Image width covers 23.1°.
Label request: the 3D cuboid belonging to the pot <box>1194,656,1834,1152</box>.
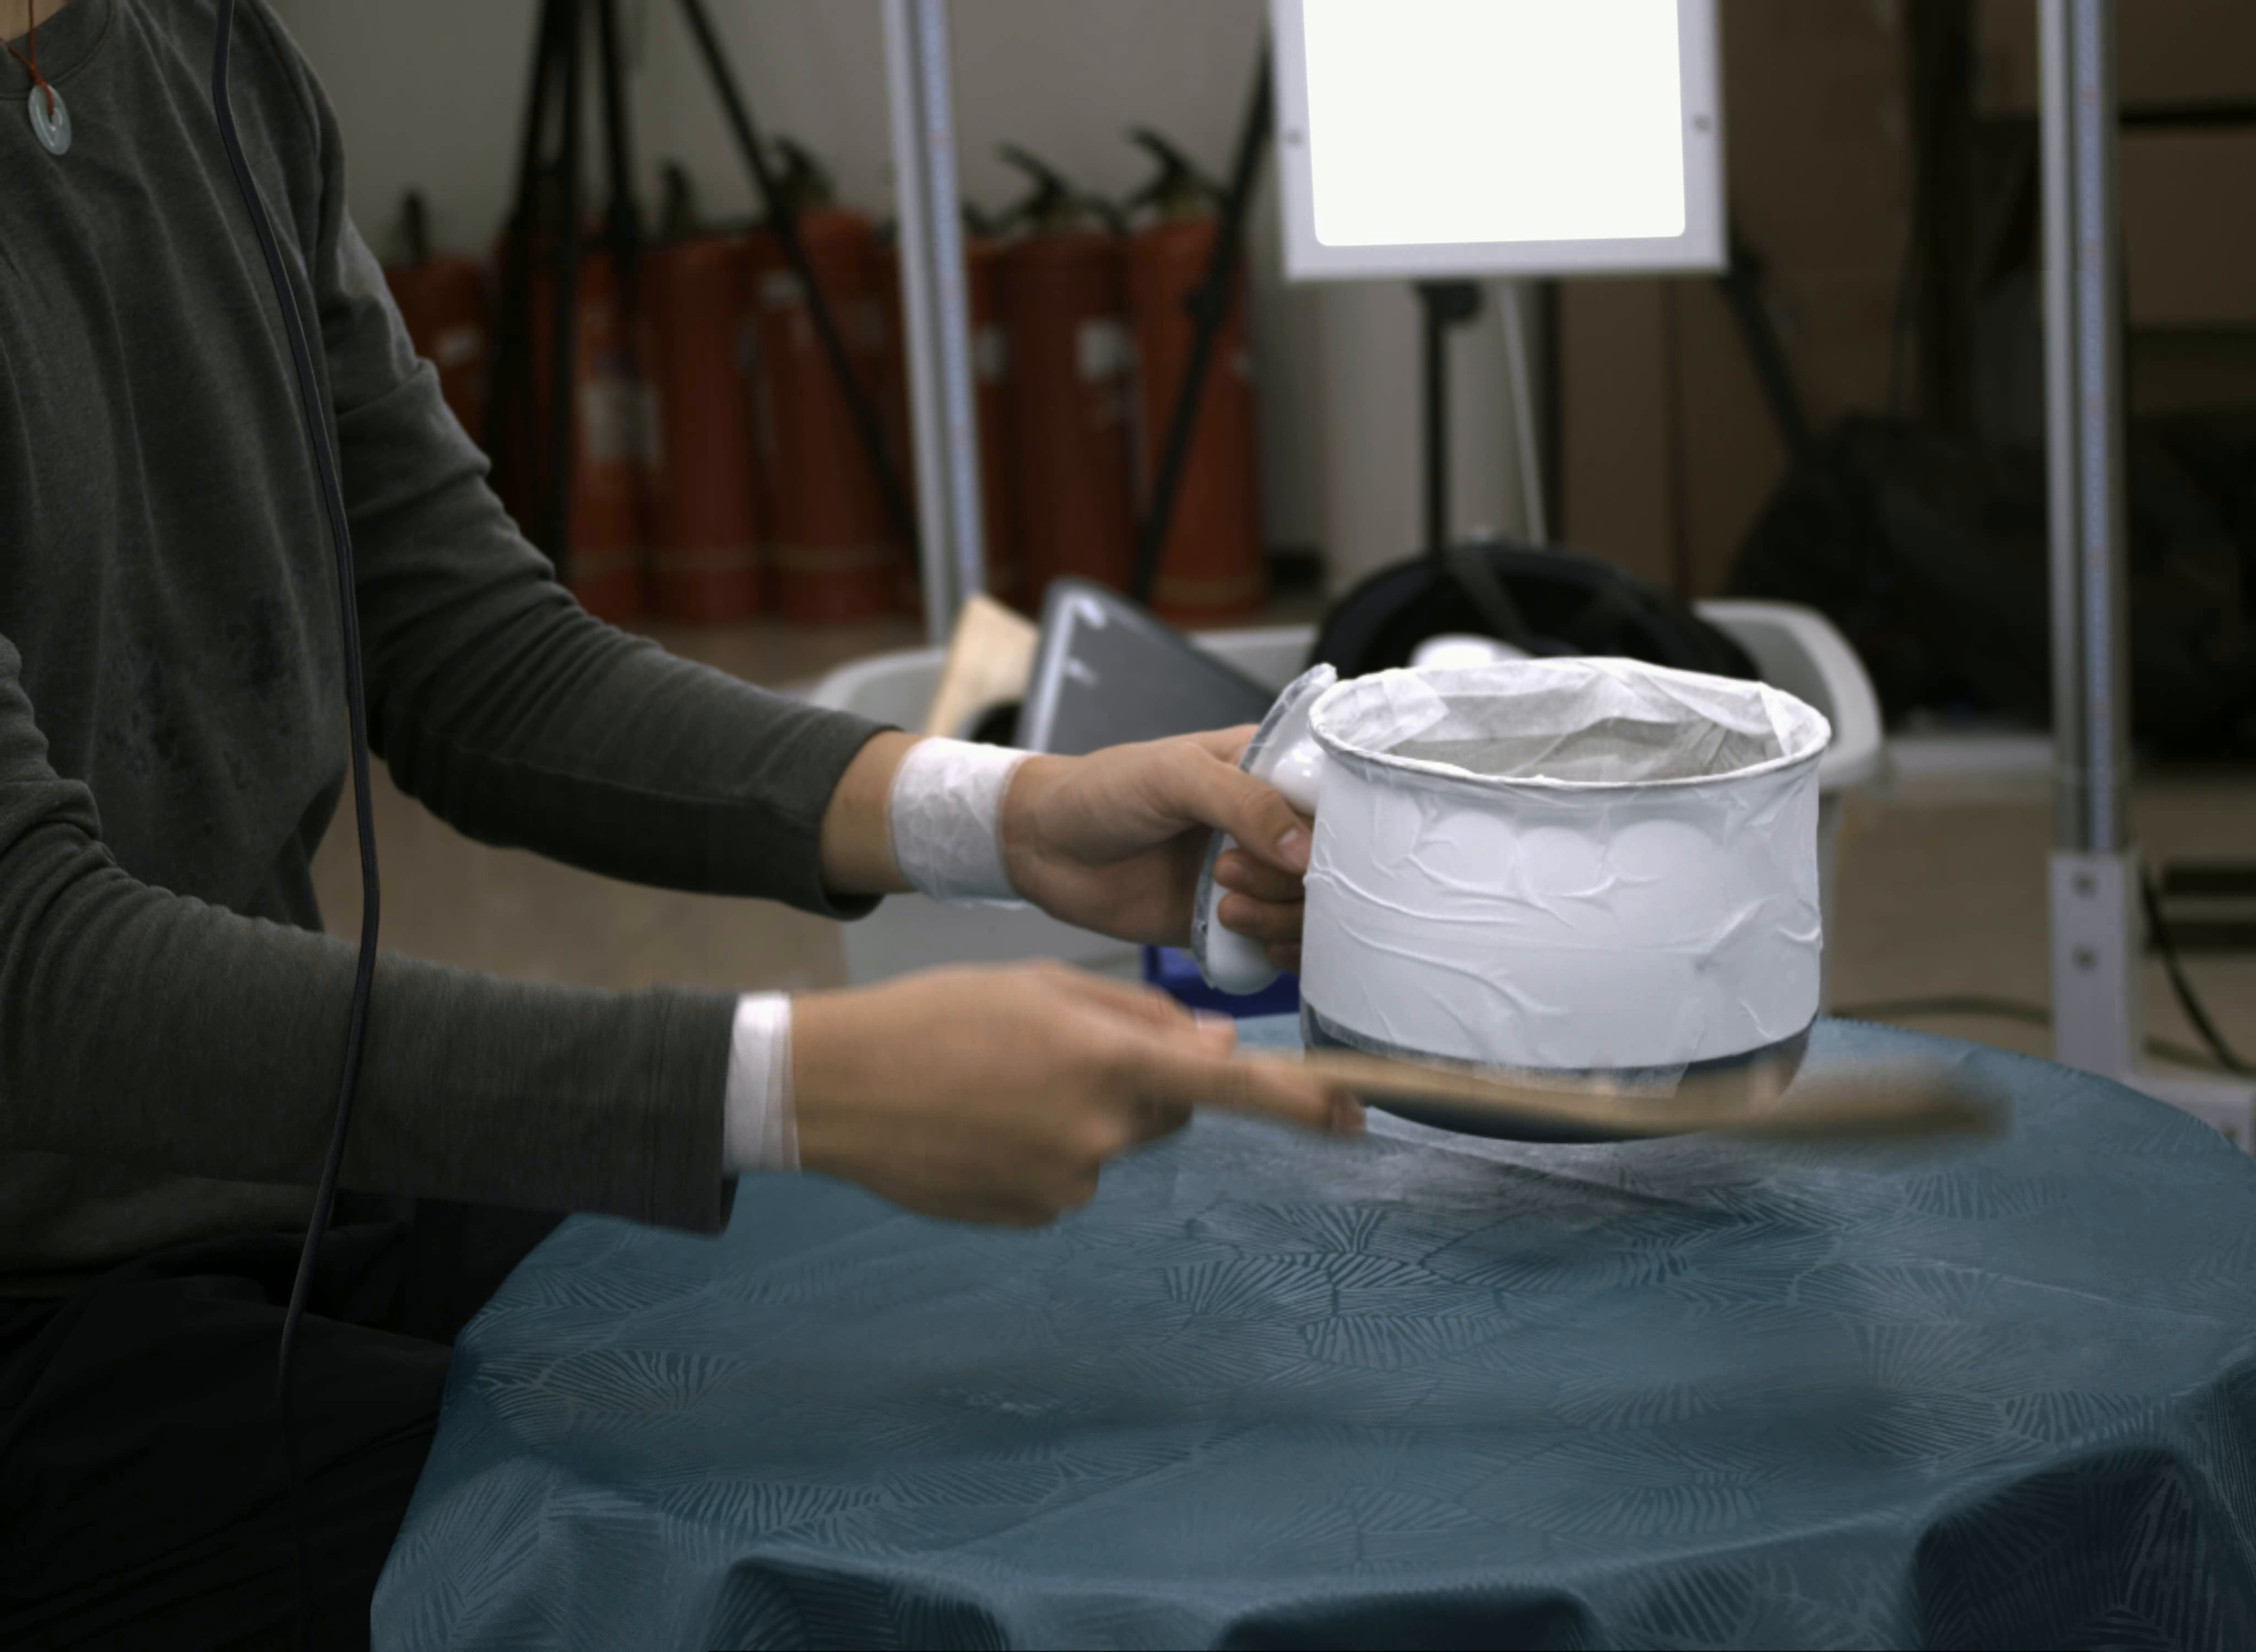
[{"bbox_3d":[0.125,0.020,1.880,0.238,0.137,0.174,10,17,34],"label":"pot"}]

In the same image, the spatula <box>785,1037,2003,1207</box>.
[{"bbox_3d":[0.074,0.087,1.673,0.396,0.018,0.094,7,-10,22],"label":"spatula"}]
